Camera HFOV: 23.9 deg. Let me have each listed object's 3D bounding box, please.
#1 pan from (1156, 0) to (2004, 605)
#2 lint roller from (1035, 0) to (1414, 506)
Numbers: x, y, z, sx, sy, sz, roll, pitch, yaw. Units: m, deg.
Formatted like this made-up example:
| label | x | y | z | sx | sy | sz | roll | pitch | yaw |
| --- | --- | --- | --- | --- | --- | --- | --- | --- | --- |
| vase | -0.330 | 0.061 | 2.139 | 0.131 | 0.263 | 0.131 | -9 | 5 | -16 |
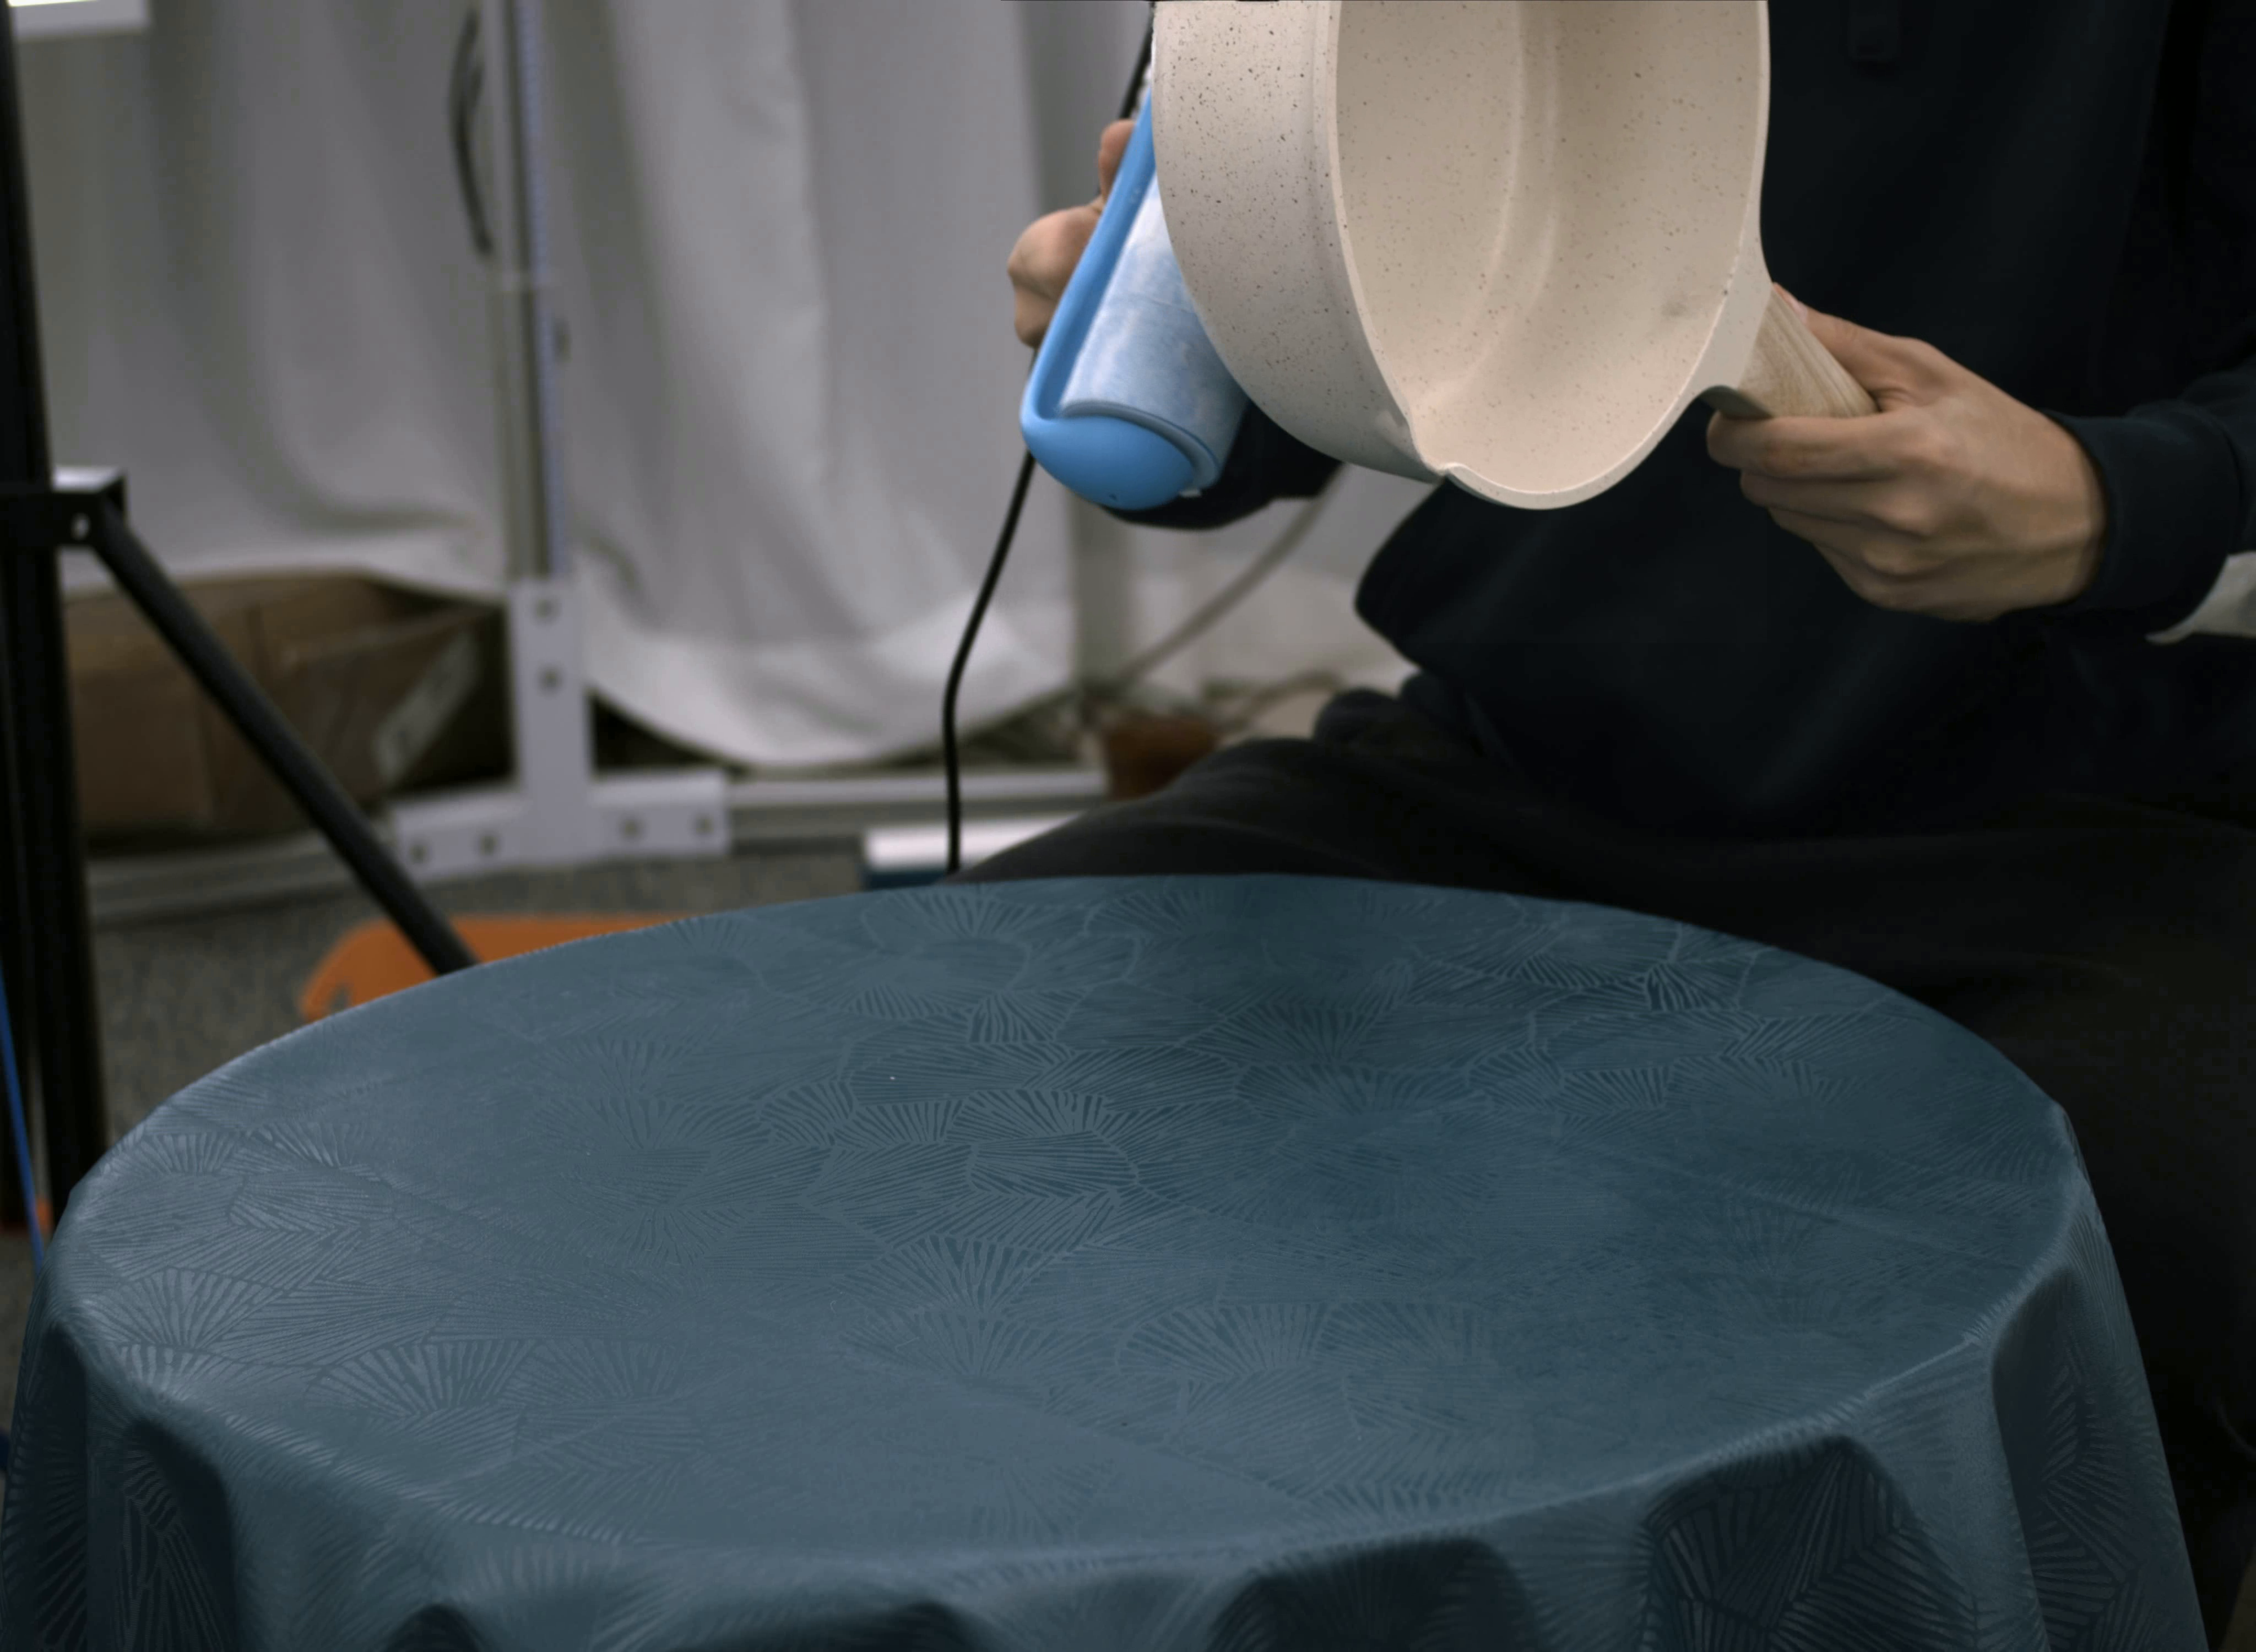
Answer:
| label | x | y | z | sx | sy | sz | roll | pitch | yaw |
| --- | --- | --- | --- | --- | --- | --- | --- | --- | --- |
| pan | 0.147 | -0.177 | 1.659 | 0.104 | 0.264 | 0.424 | 4 | -24 | 36 |
| lint roller | 0.022 | -0.183 | 1.696 | 0.067 | 0.229 | 0.181 | 23 | -22 | -8 |
